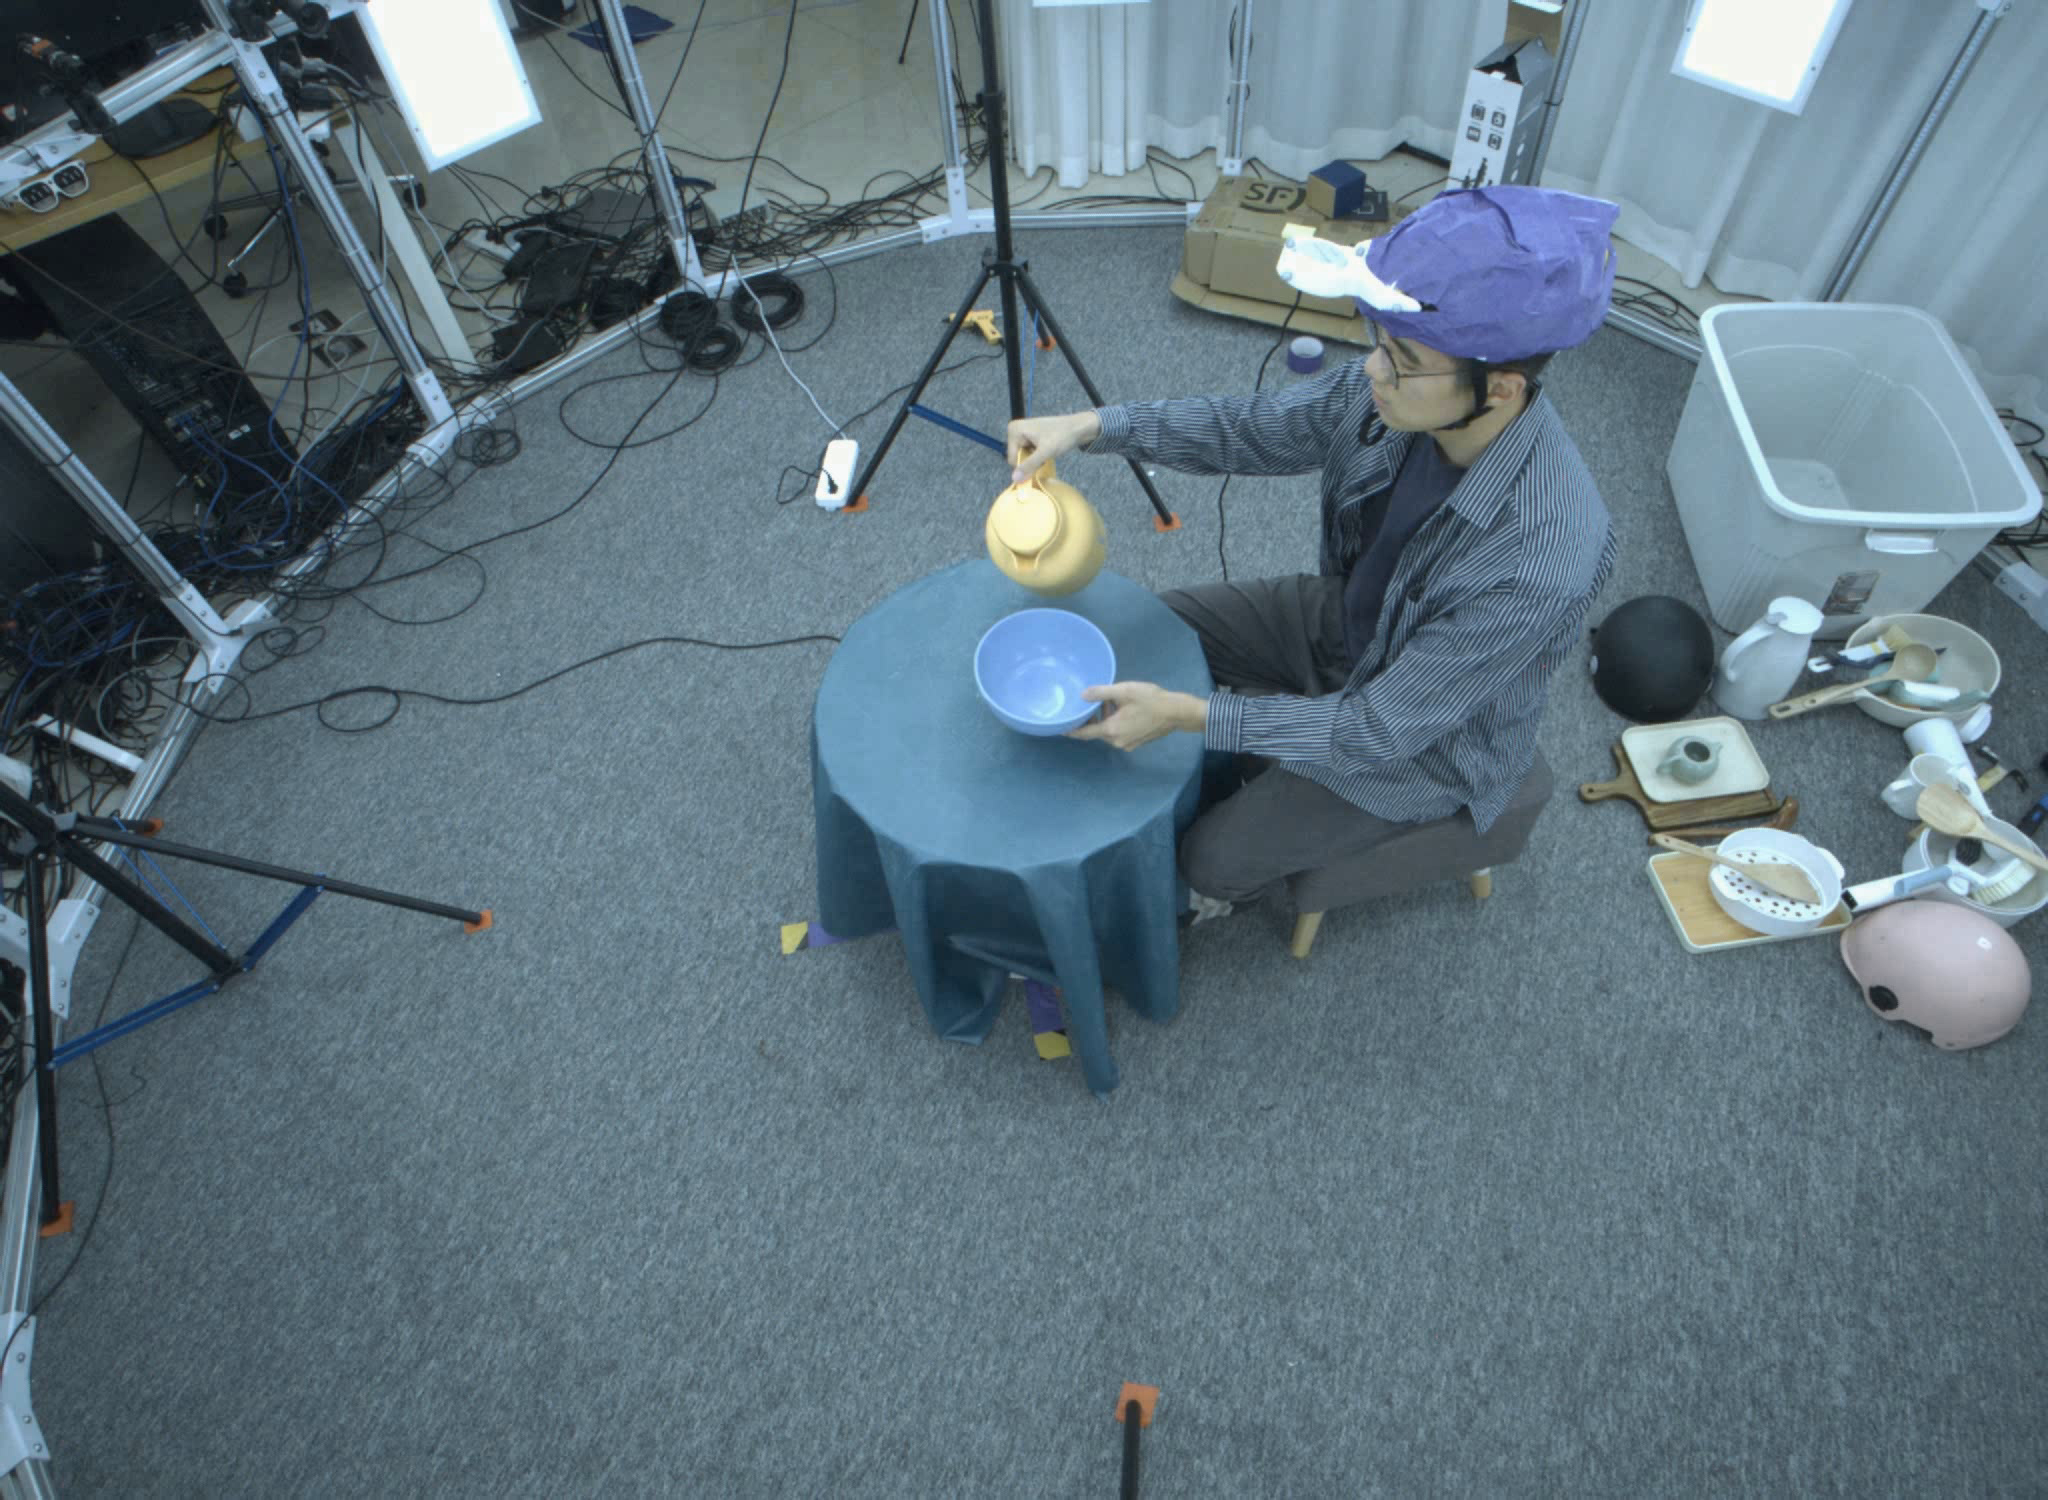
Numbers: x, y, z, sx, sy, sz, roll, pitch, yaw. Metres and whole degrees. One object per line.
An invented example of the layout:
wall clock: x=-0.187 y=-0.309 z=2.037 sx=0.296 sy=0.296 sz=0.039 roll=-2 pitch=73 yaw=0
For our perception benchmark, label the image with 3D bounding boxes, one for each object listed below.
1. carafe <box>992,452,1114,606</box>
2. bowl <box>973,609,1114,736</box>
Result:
carafe: x=0.036 y=-0.322 z=1.789 sx=0.162 sy=0.262 sz=0.202 roll=0 pitch=90 yaw=12
bowl: x=0.027 y=-0.095 z=1.748 sx=0.197 sy=0.096 sz=0.194 roll=2 pitch=60 yaw=-1
